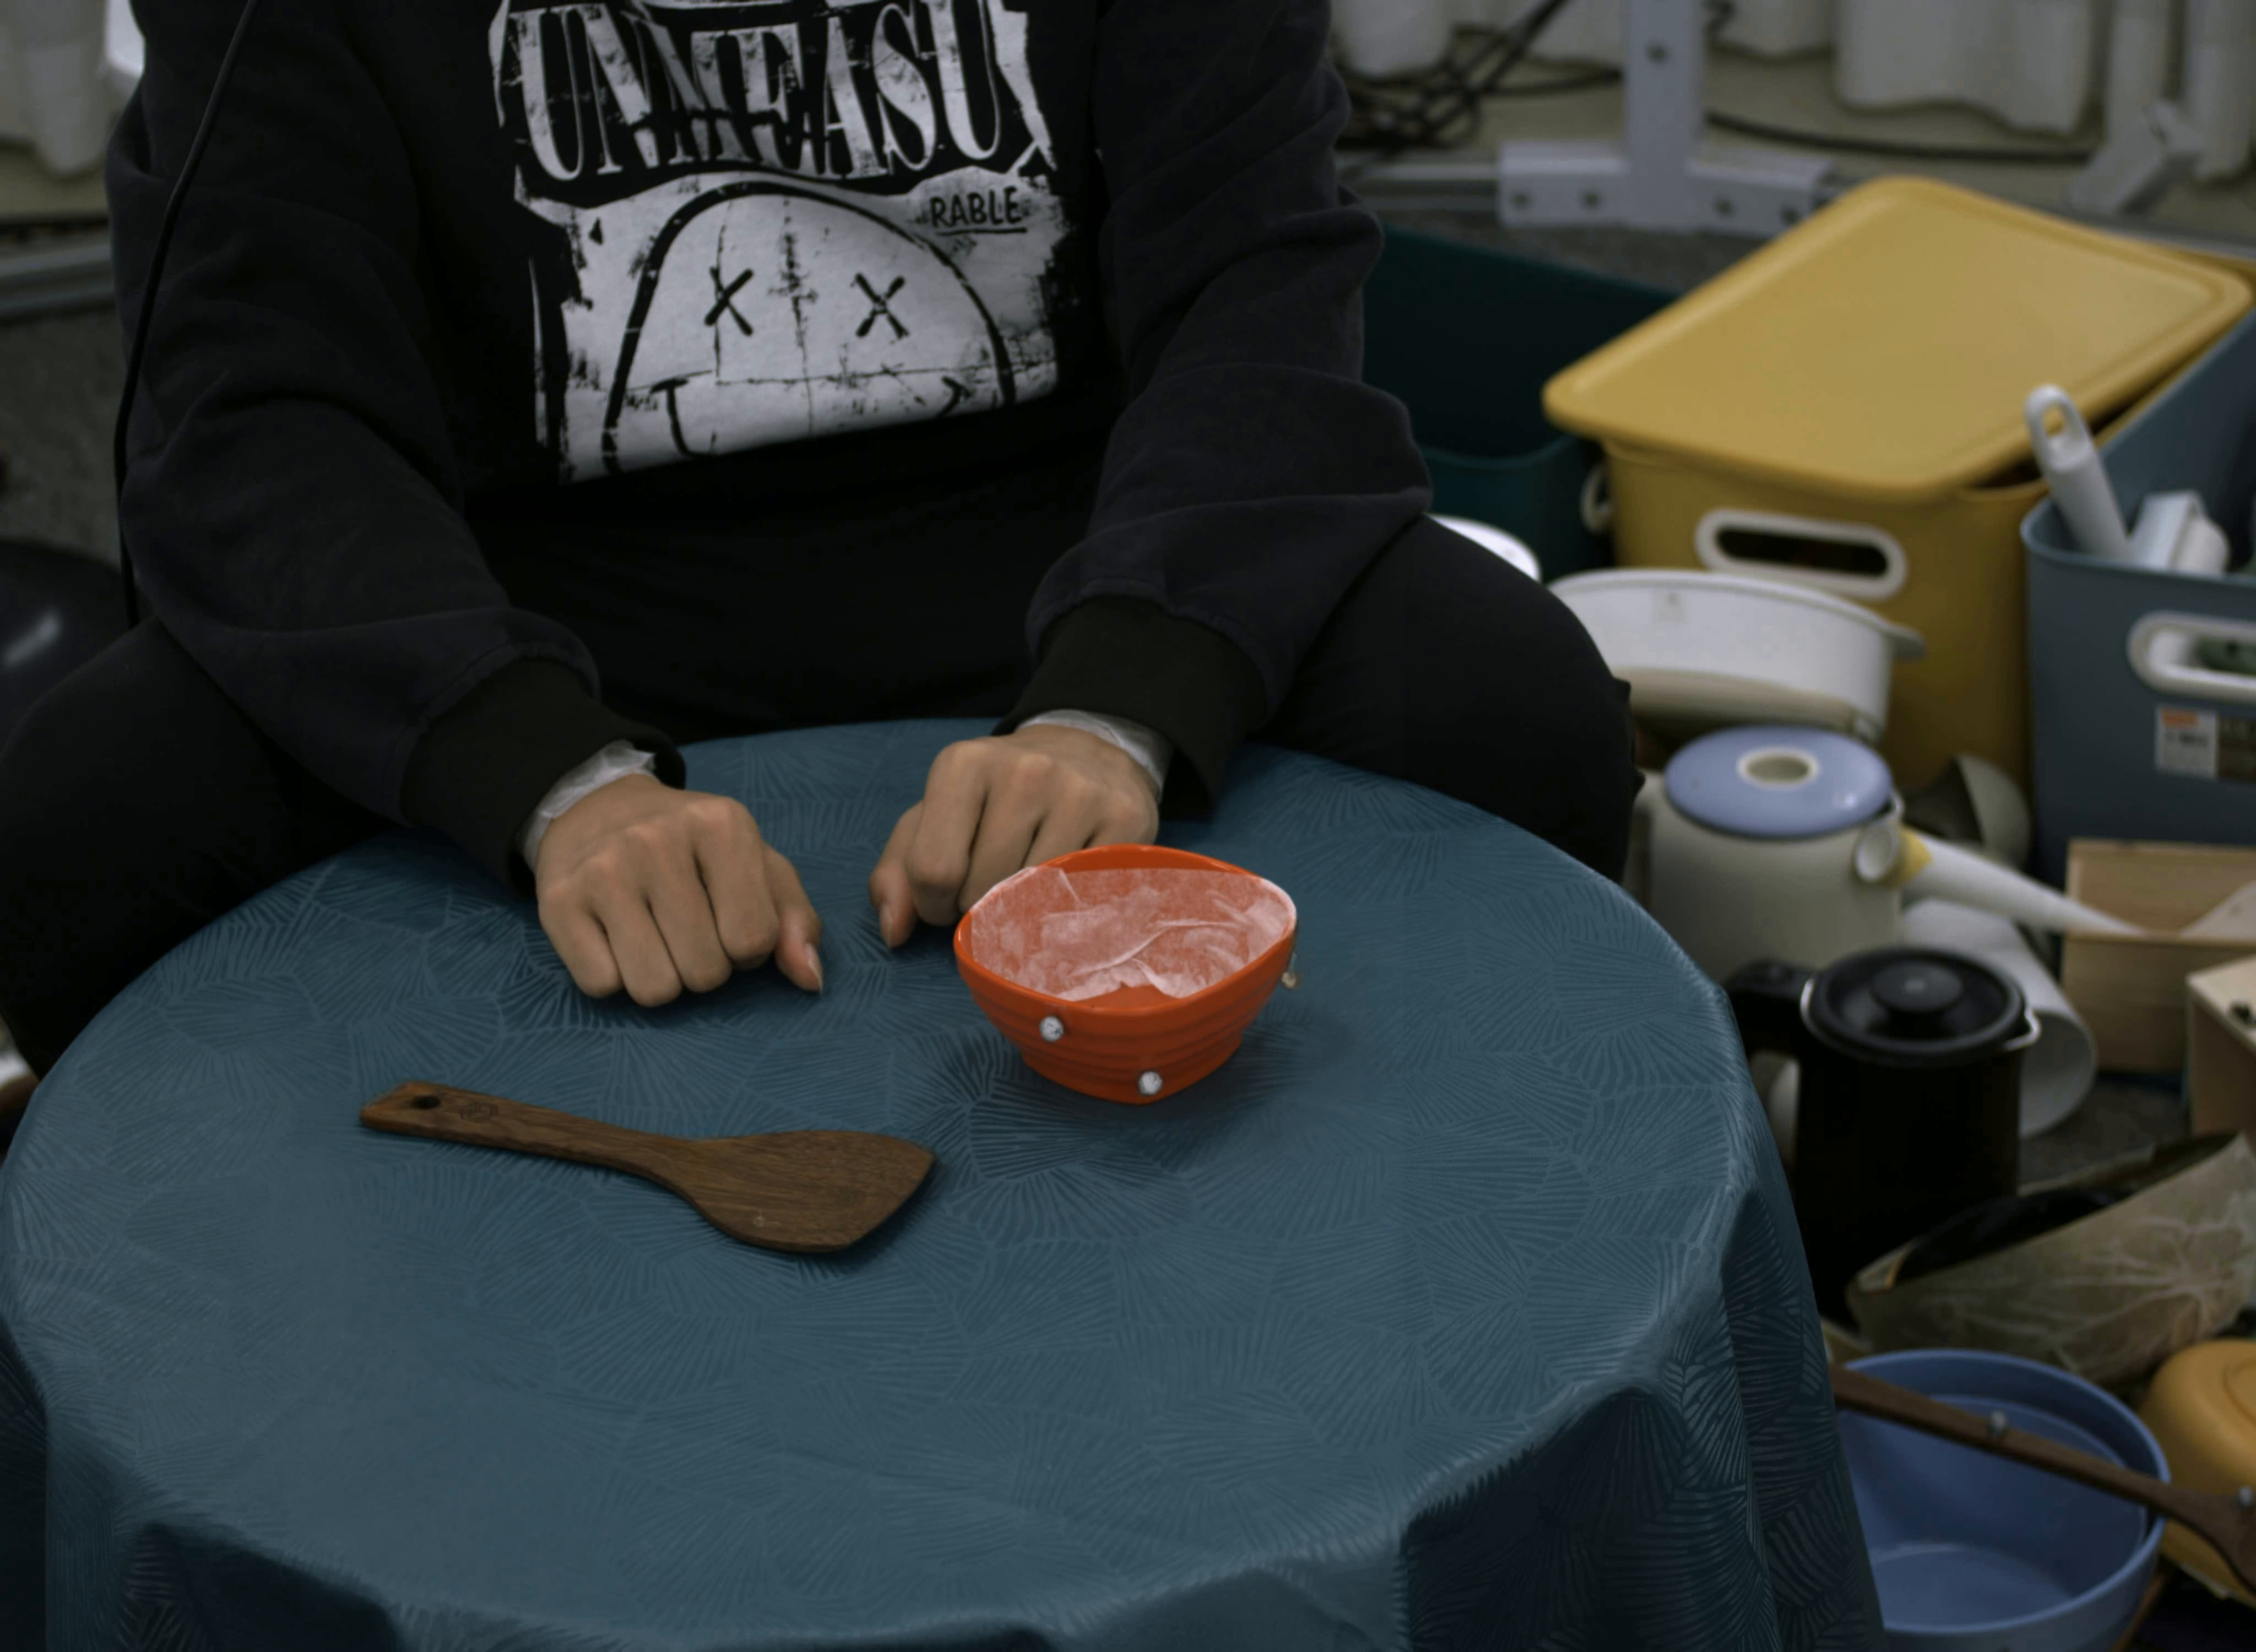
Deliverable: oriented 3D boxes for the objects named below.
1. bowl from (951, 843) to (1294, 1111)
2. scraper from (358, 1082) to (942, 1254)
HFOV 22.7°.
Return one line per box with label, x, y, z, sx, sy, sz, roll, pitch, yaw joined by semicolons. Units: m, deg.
bowl;0.000;0.057;1.938;0.118;0.051;0.121;-3;30;2
scraper;-0.166;0.111;1.890;0.210;0.011;0.077;9;28;23
